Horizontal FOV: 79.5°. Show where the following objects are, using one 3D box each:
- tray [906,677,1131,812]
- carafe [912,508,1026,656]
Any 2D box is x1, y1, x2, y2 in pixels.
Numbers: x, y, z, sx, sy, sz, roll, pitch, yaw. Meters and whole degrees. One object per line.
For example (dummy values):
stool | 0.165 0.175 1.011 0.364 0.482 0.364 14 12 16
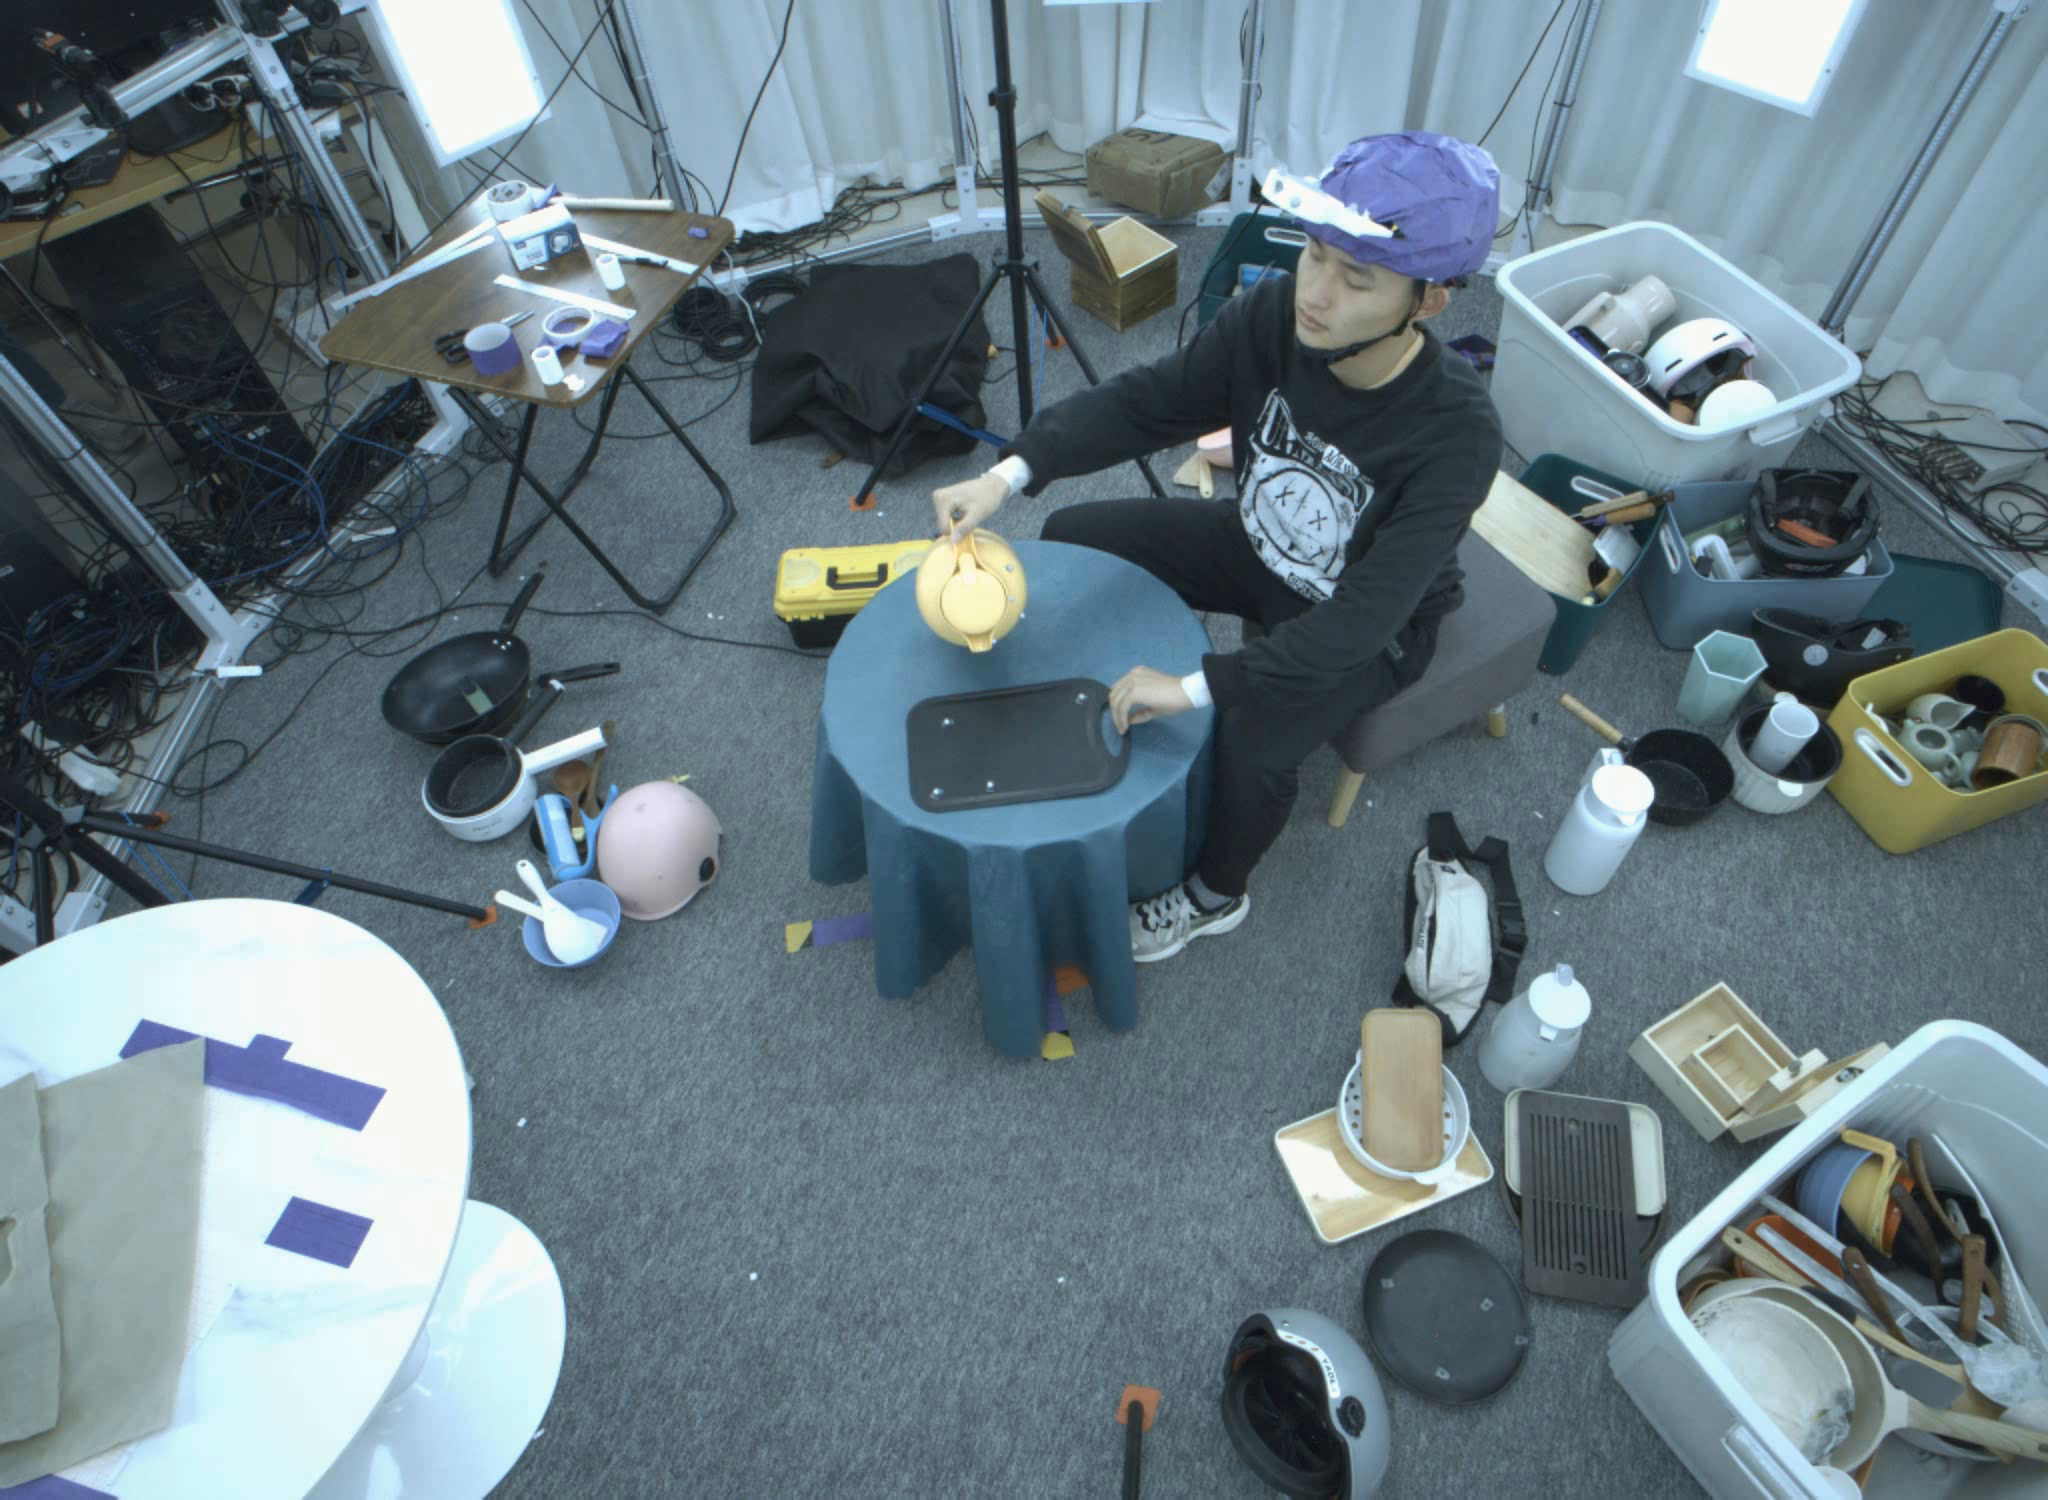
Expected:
tray | -0.009 -0.014 1.785 0.326 0.010 0.208 -7 55 -1
carafe | -0.079 -0.250 1.763 0.164 0.204 0.257 -8 19 -6
